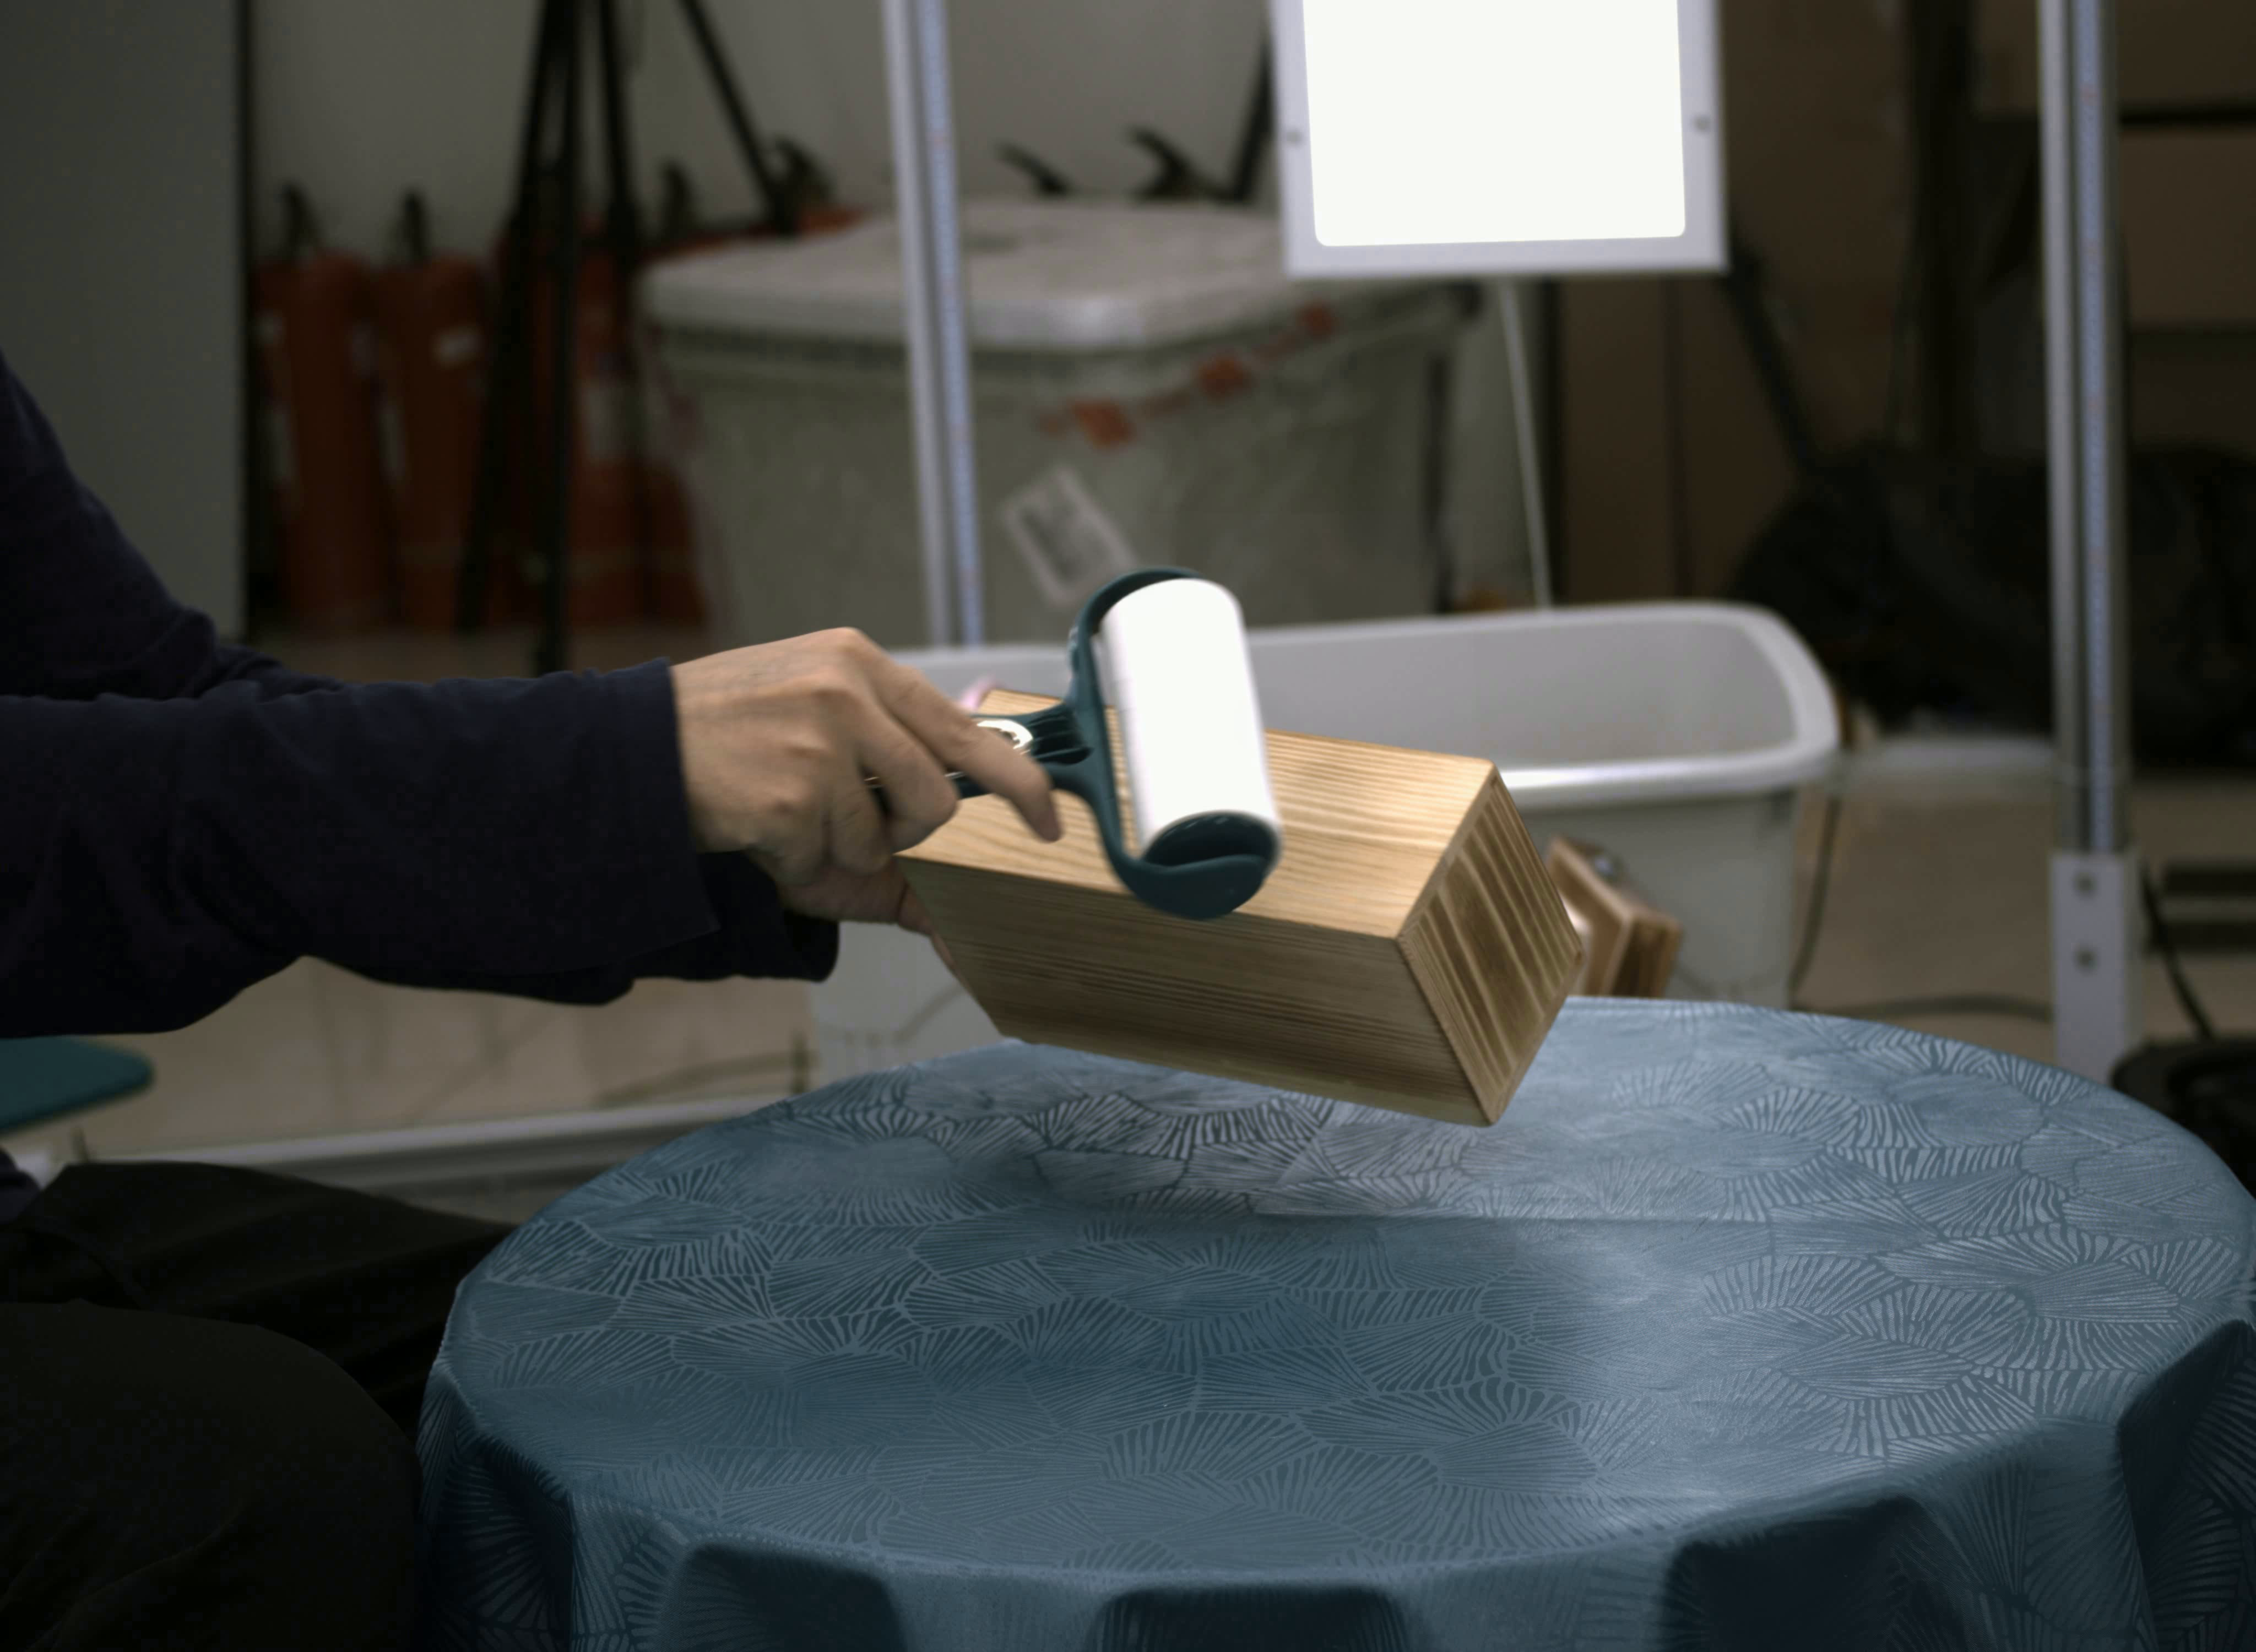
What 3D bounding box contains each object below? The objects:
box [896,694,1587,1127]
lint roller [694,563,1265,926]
[{"bbox_3d":[0.040,0.028,1.923,0.215,0.107,0.079,9,55,34],"label":"box"},{"bbox_3d":[-0.051,-0.025,1.794,0.178,0.049,0.134,-2,51,-8],"label":"lint roller"}]
